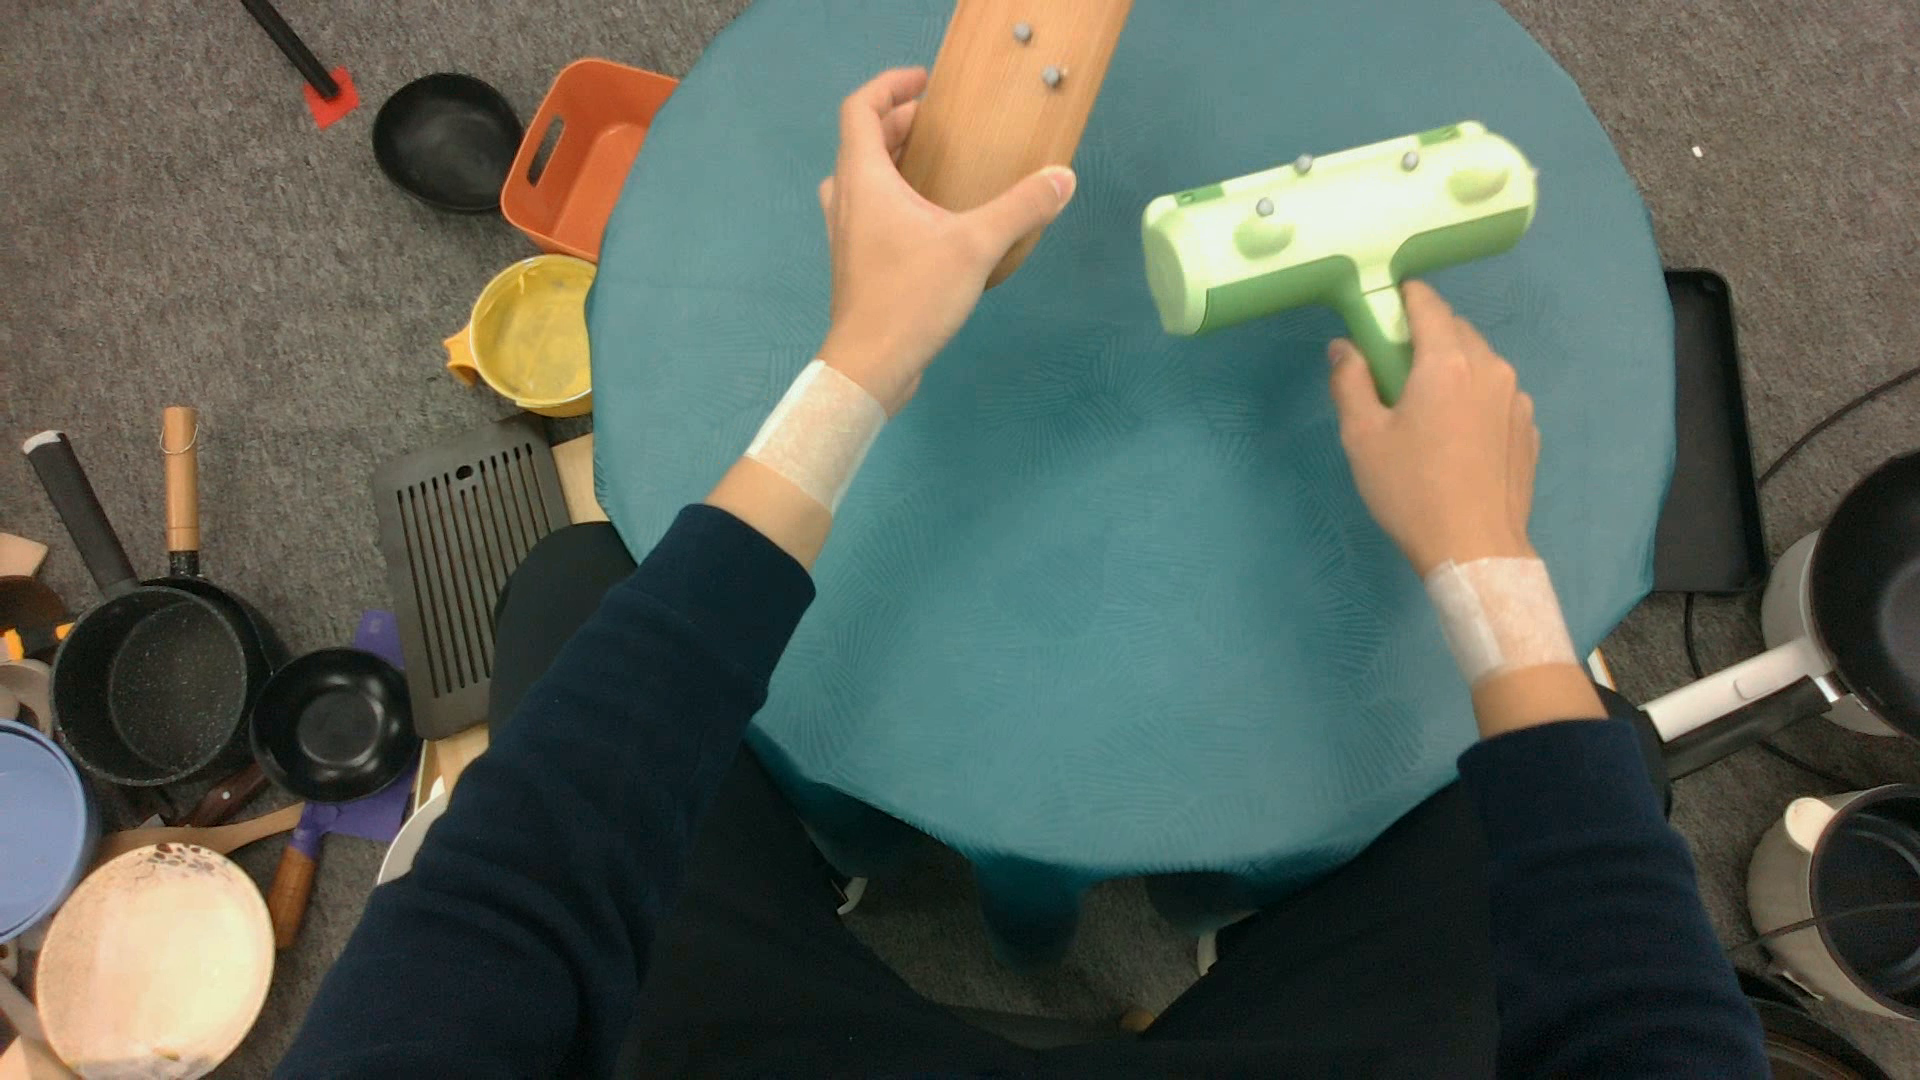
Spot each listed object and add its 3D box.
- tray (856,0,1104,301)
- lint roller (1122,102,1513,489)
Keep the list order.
[{"bbox_3d":[0.015,-0.223,0.651,0.101,0.020,0.231,22,94,41],"label":"tray"},{"bbox_3d":[0.198,-0.116,0.646,0.199,0.082,0.183,-19,68,-15],"label":"lint roller"}]
